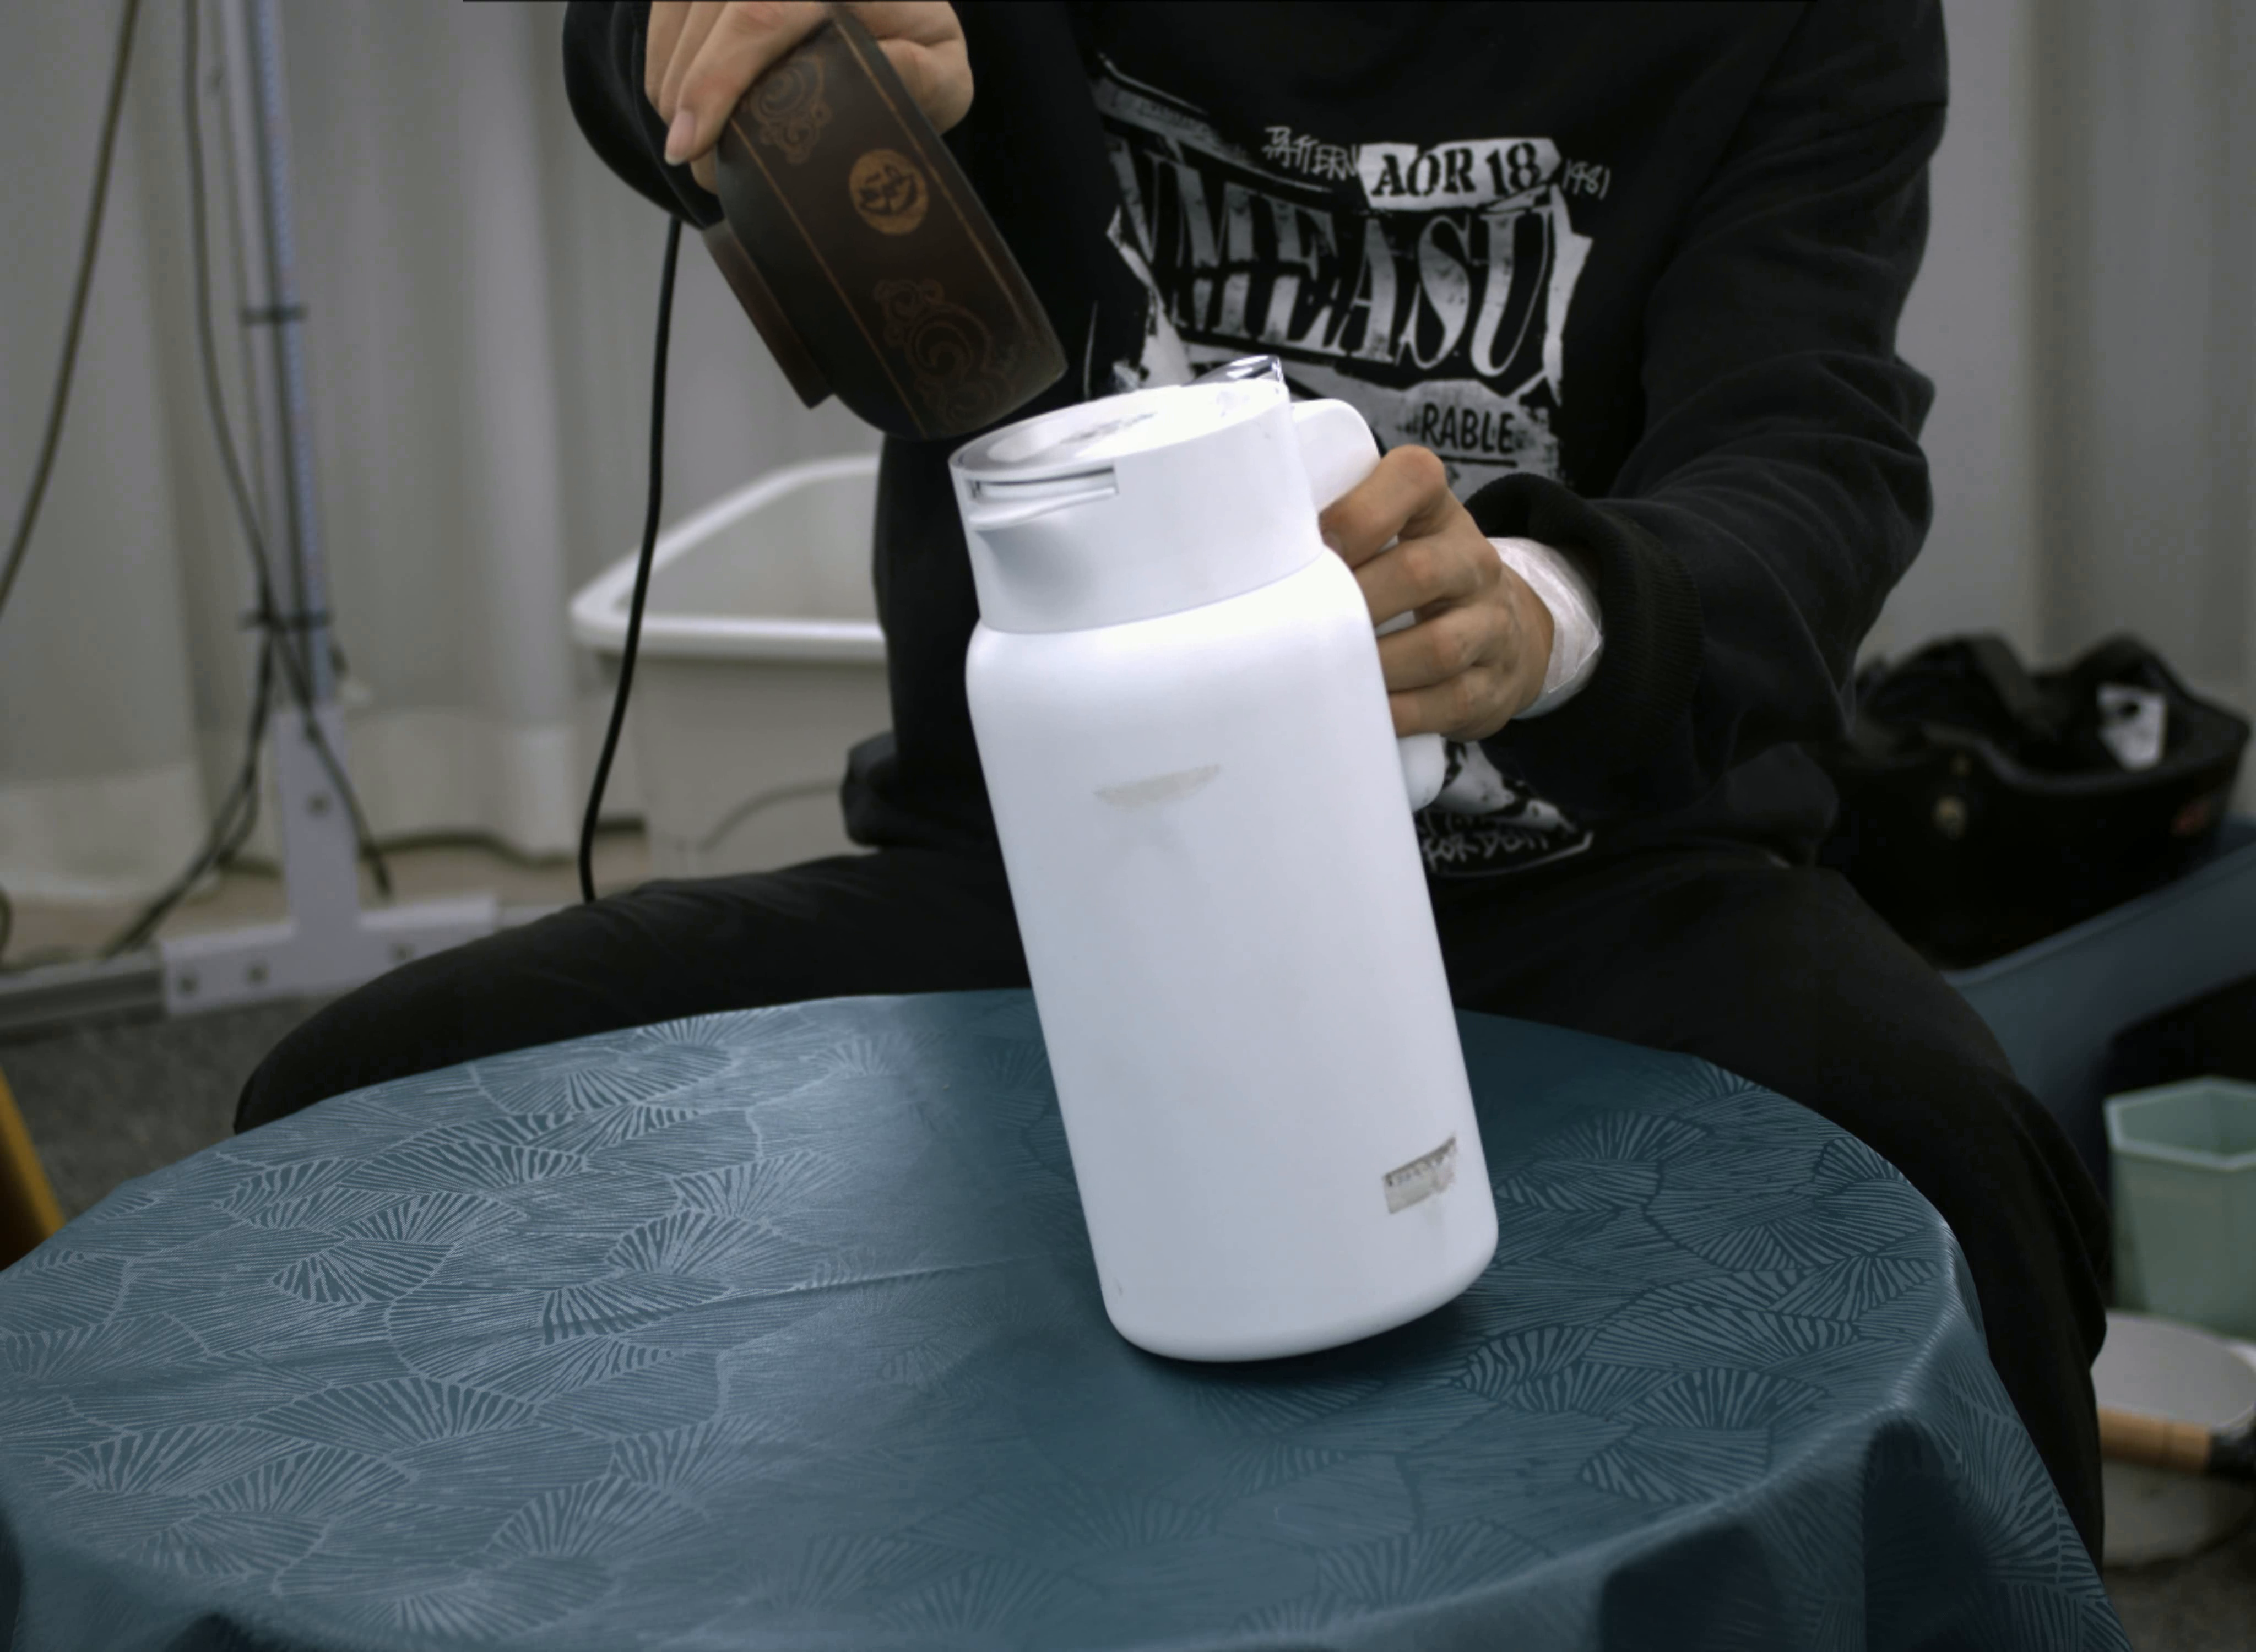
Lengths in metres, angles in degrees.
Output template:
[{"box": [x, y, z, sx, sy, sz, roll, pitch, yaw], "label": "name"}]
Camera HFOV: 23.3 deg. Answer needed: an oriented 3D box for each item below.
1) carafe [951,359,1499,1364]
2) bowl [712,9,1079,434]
[{"box": [0.033, 0.006, 1.576, 0.124, 0.268, 0.173, -6, 14, 36], "label": "carafe"}, {"box": [-0.072, -0.160, 1.523, 0.070, 0.117, 0.119, -32, 17, -2], "label": "bowl"}]
